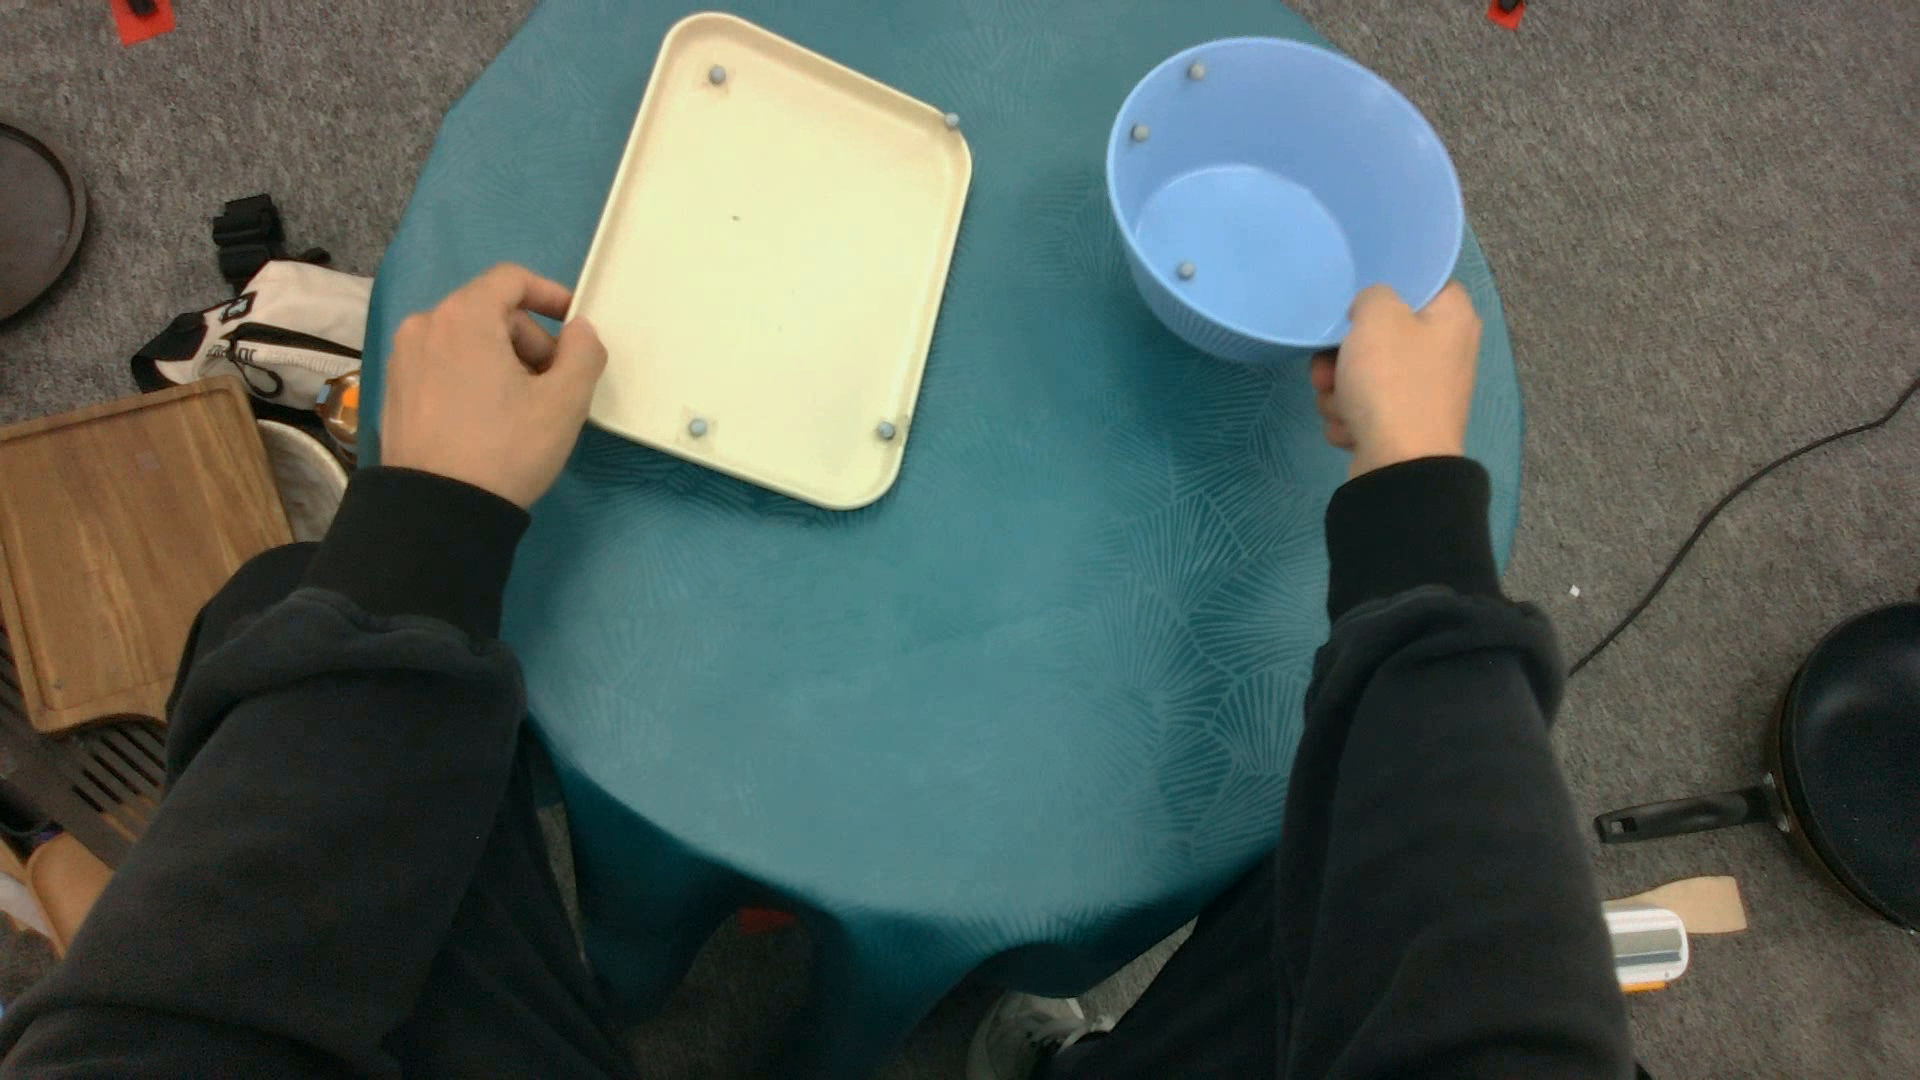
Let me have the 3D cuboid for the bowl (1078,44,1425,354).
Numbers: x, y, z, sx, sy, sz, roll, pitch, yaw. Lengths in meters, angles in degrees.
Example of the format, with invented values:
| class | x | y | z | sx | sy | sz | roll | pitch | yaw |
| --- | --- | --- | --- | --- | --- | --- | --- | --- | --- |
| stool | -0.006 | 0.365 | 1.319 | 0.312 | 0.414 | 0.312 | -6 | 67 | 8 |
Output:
| class | x | y | z | sx | sy | sz | roll | pitch | yaw |
| --- | --- | --- | --- | --- | --- | --- | --- | --- | --- |
| bowl | 0.137 | -0.160 | 0.695 | 0.176 | 0.070 | 0.176 | 4 | 64 | -9 |

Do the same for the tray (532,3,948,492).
| class | x | y | z | sx | sy | sz | roll | pitch | yaw |
| --- | --- | --- | --- | --- | --- | --- | --- | --- | --- |
| tray | -0.103 | -0.148 | 0.689 | 0.171 | 0.017 | 0.240 | 19 | 67 | -17 |
